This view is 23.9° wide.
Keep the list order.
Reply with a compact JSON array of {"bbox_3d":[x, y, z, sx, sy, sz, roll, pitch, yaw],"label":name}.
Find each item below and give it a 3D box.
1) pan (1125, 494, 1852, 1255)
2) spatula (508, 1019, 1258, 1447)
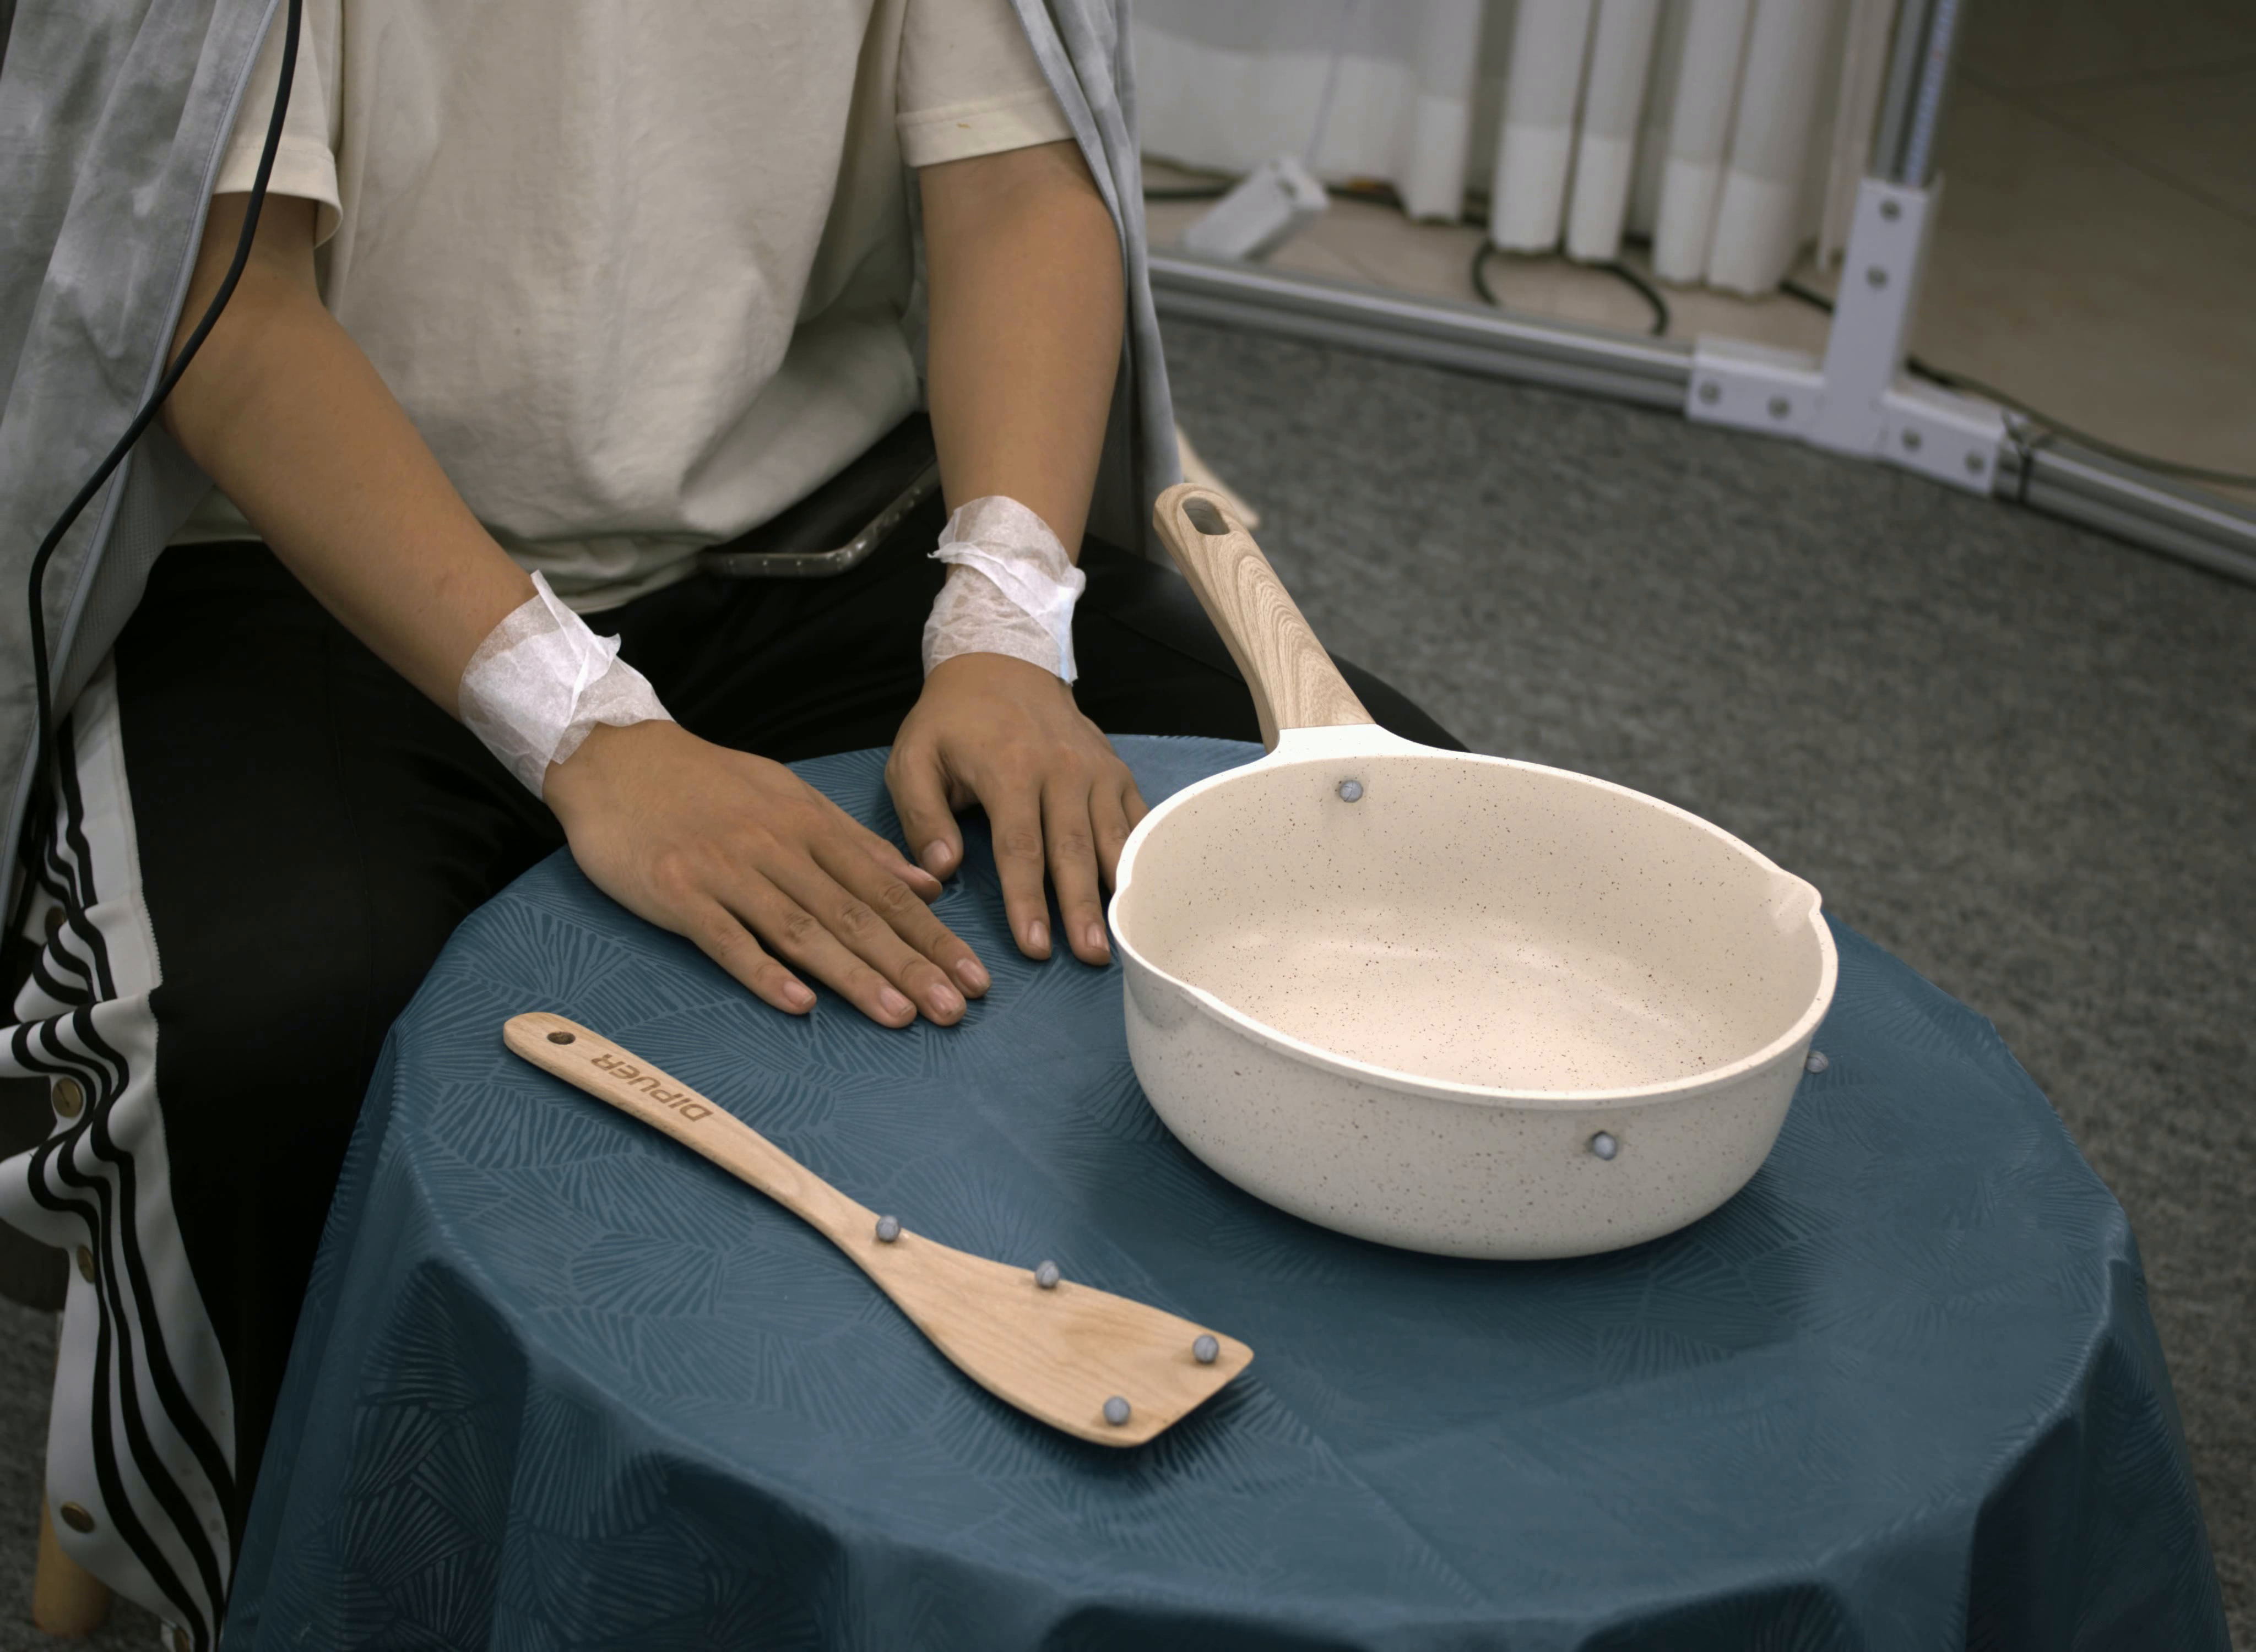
[{"bbox_3d":[0.091,0.015,1.929,0.262,0.101,0.439,-5,29,-19],"label":"pan"},{"bbox_3d":[-0.092,0.127,1.759,0.330,0.016,0.079,27,33,36],"label":"spatula"}]
